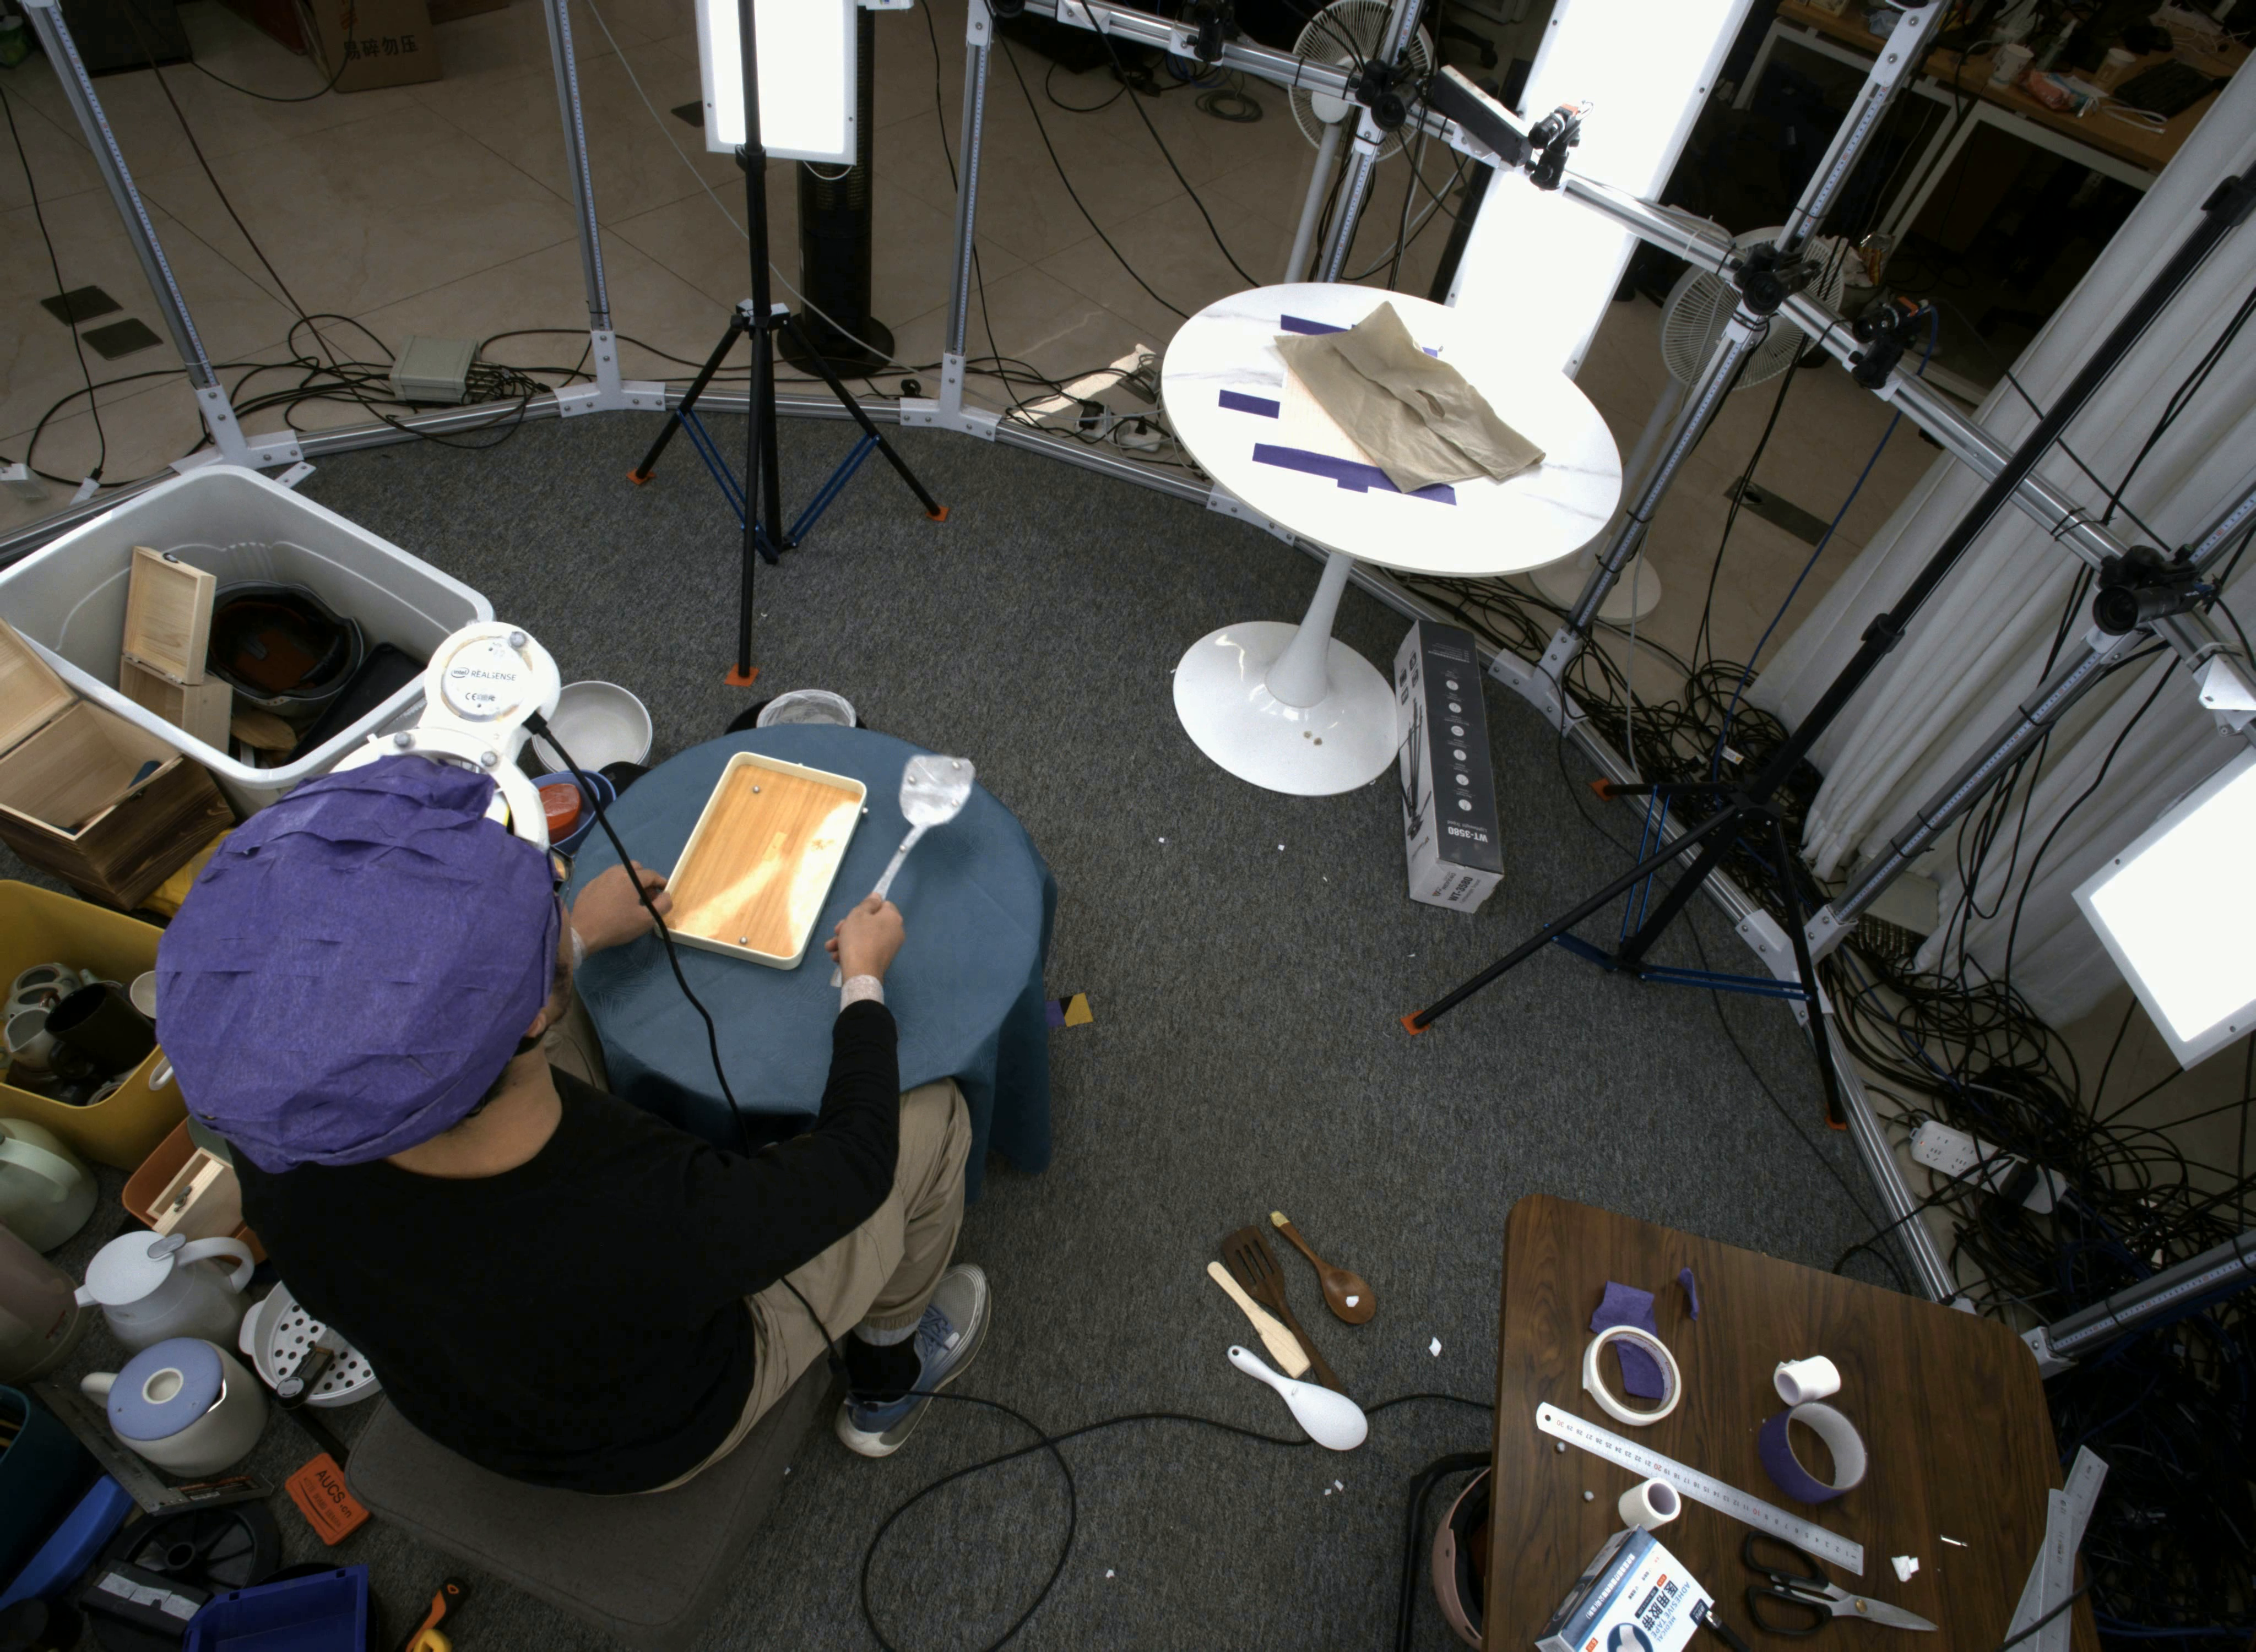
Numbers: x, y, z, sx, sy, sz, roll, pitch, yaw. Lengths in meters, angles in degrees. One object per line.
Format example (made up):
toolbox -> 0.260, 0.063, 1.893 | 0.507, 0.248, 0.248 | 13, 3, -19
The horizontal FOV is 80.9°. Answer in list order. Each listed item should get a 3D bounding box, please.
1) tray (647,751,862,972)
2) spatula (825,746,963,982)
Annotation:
tray -> -0.473, 0.038, 1.660 | 0.190, 0.028, 0.296 | 15, 52, -3
spatula -> -0.297, 0.037, 1.599 | 0.096, 0.046, 0.360 | 6, 46, 14
